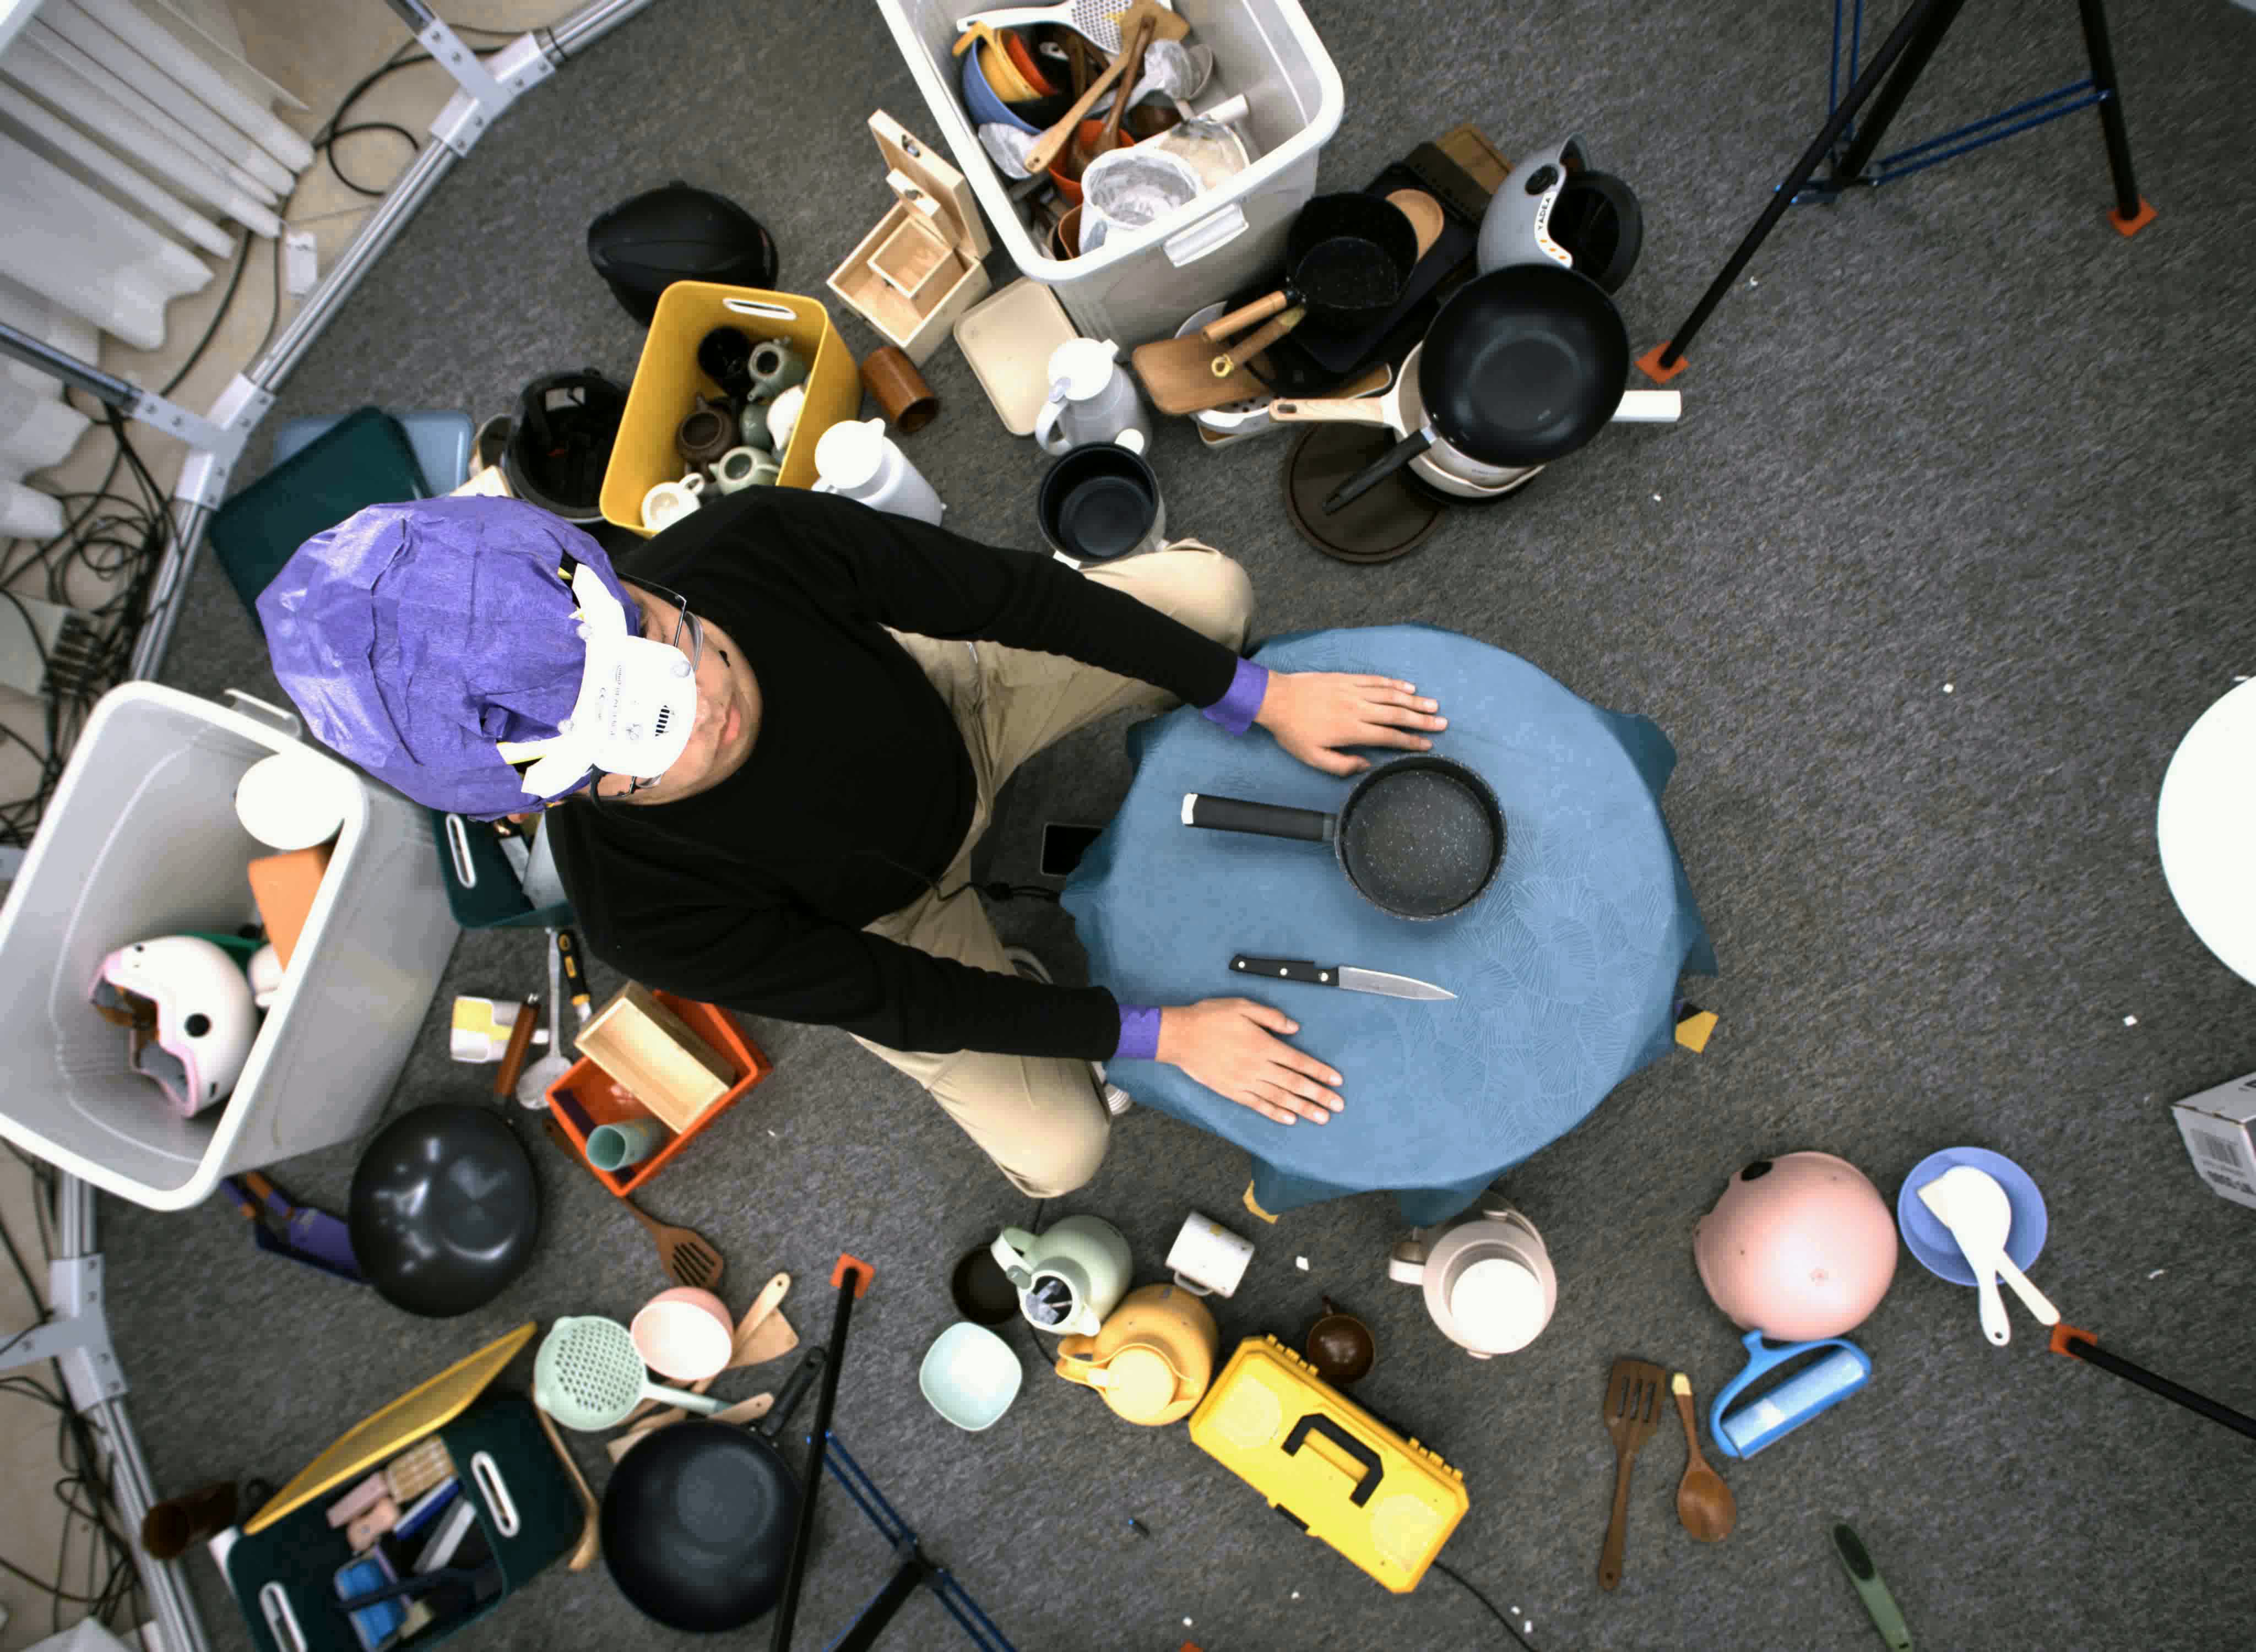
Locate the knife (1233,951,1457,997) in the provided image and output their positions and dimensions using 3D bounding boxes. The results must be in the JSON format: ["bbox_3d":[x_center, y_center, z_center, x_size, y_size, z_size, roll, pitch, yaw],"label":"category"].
[{"bbox_3d":[0.228,0.159,1.460,0.239,0.016,0.024,8,87,8],"label":"knife"}]

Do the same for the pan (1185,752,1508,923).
[{"bbox_3d":[0.223,0.000,1.431,0.329,0.086,0.171,10,88,10],"label":"pan"}]
